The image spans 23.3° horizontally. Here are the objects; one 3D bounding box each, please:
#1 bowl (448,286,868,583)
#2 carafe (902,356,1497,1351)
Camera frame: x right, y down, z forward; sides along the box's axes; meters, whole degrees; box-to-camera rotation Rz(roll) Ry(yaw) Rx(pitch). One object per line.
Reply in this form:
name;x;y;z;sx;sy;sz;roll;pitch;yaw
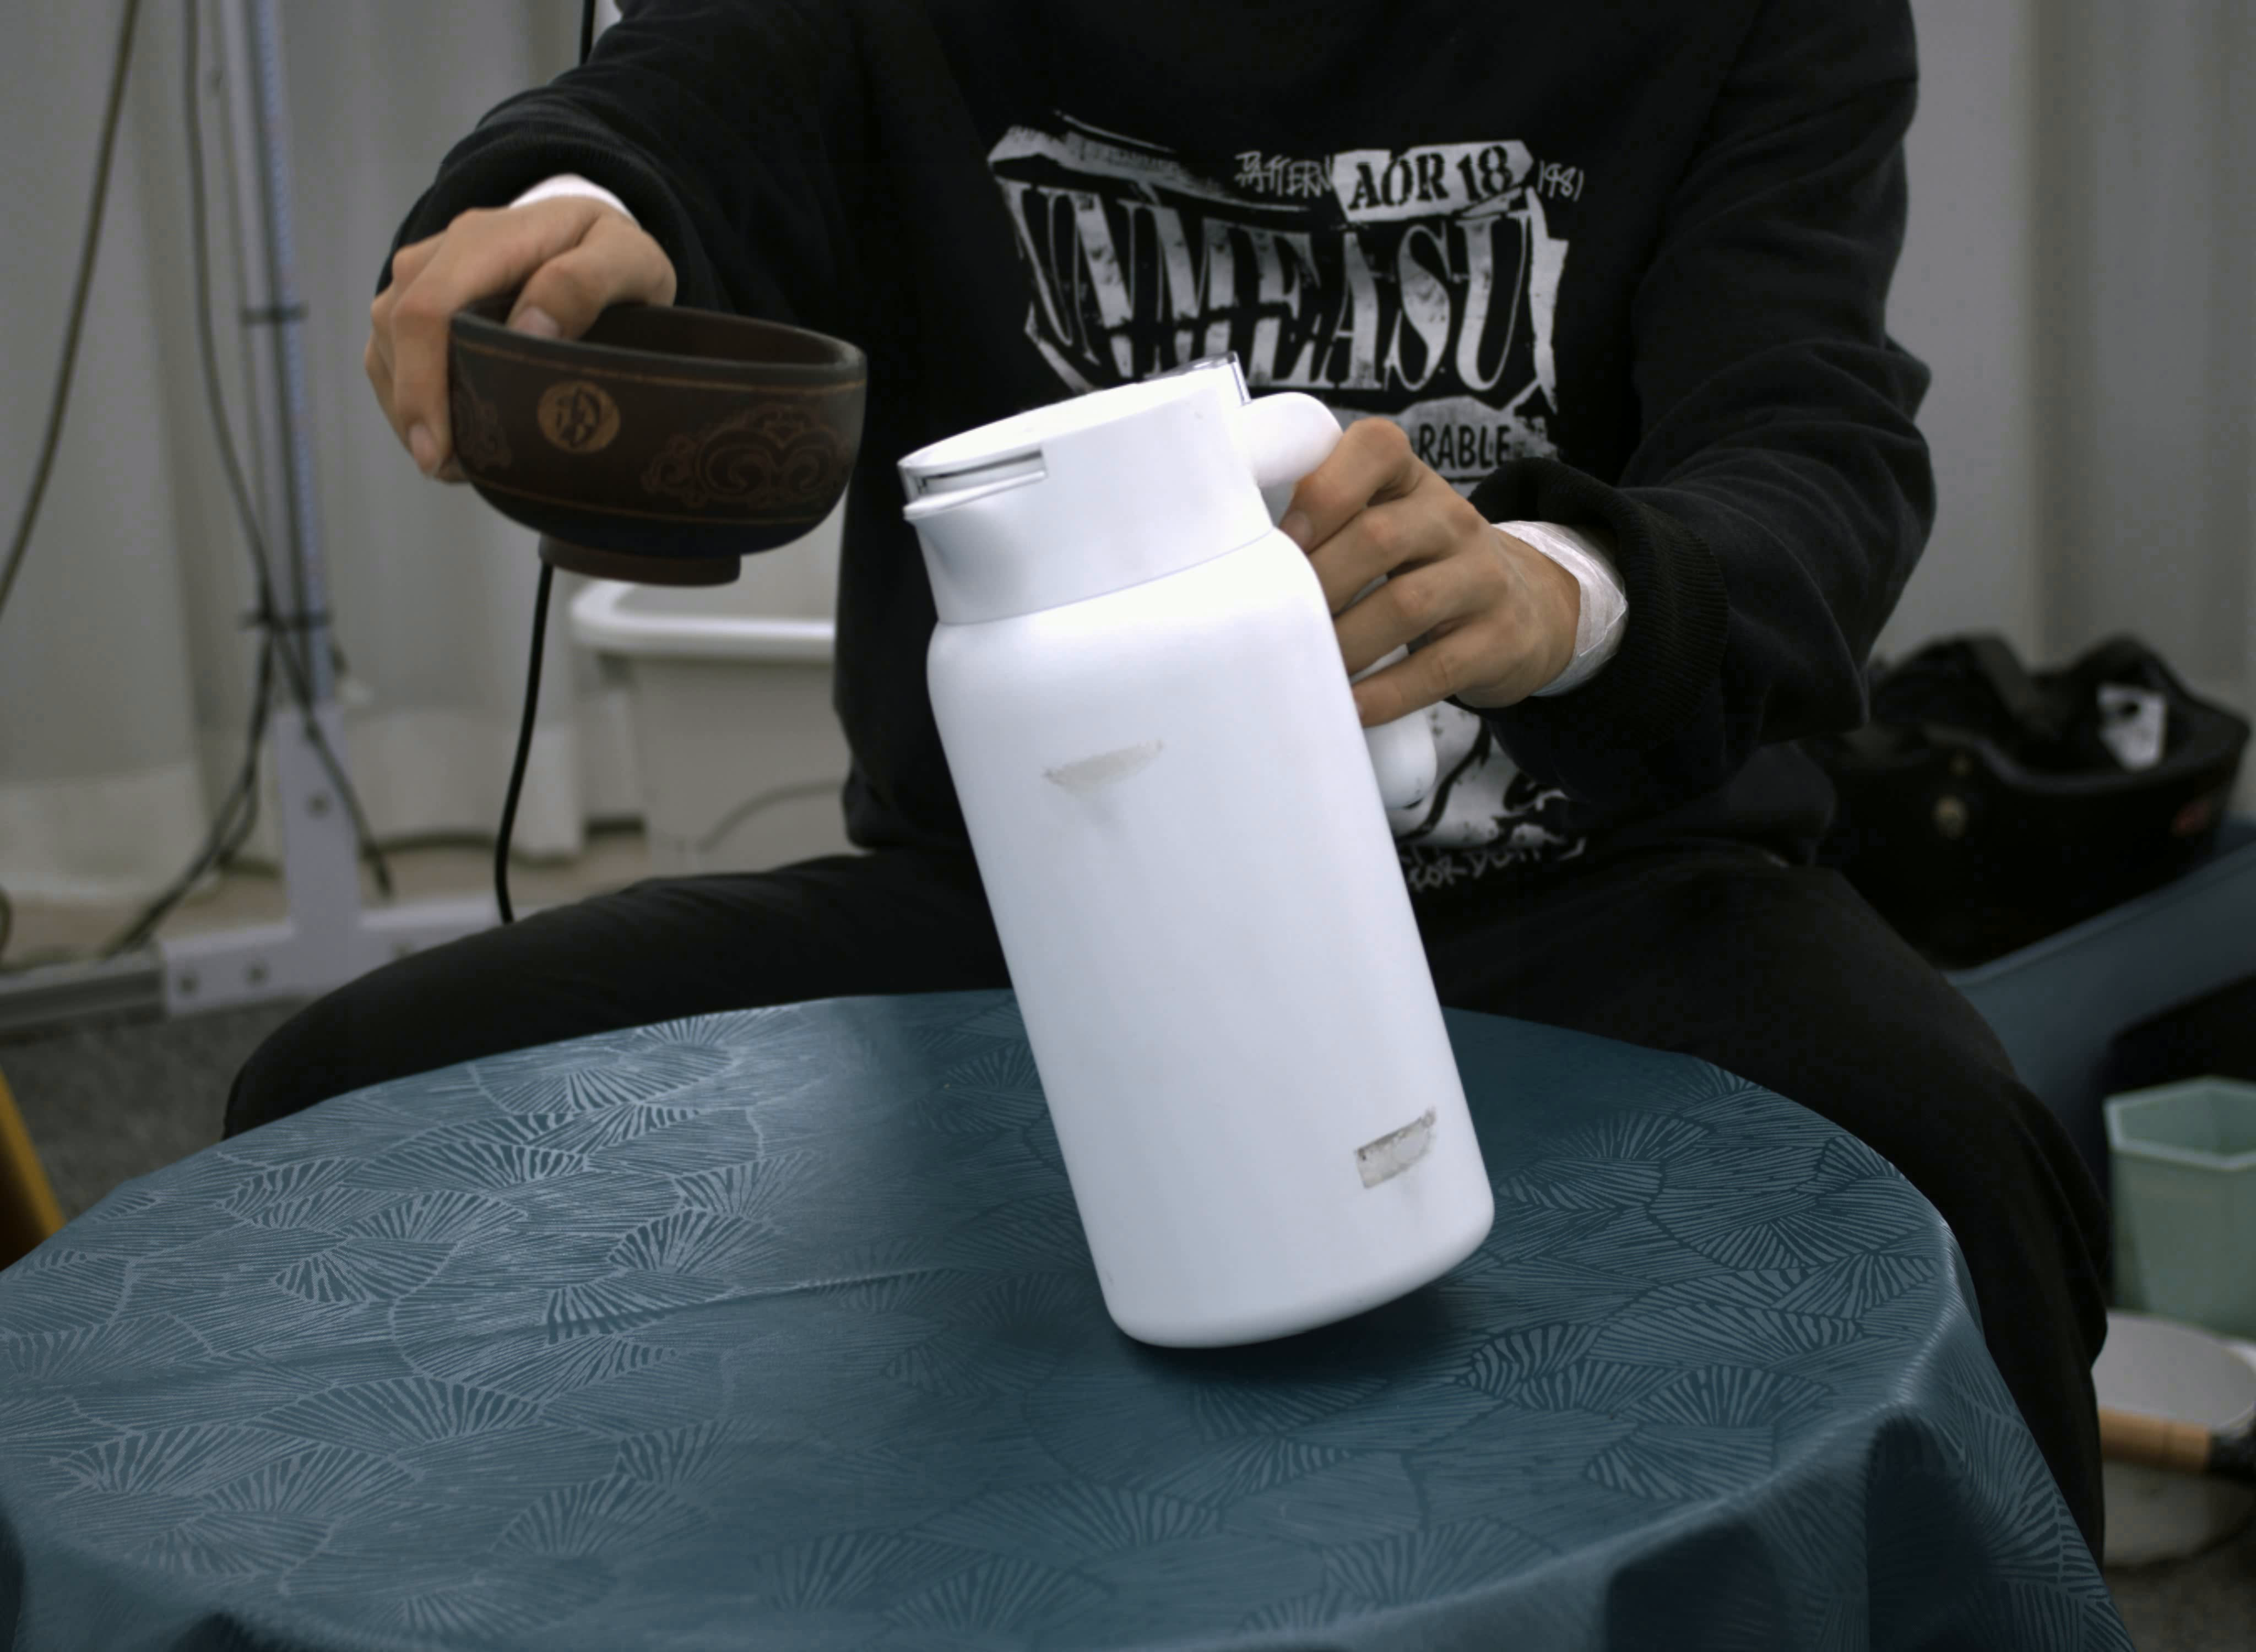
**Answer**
bowl;-0.135;-0.109;1.551;0.117;0.069;0.119;7;13;-2
carafe;0.027;0.003;1.583;0.124;0.268;0.173;-11;9;41
